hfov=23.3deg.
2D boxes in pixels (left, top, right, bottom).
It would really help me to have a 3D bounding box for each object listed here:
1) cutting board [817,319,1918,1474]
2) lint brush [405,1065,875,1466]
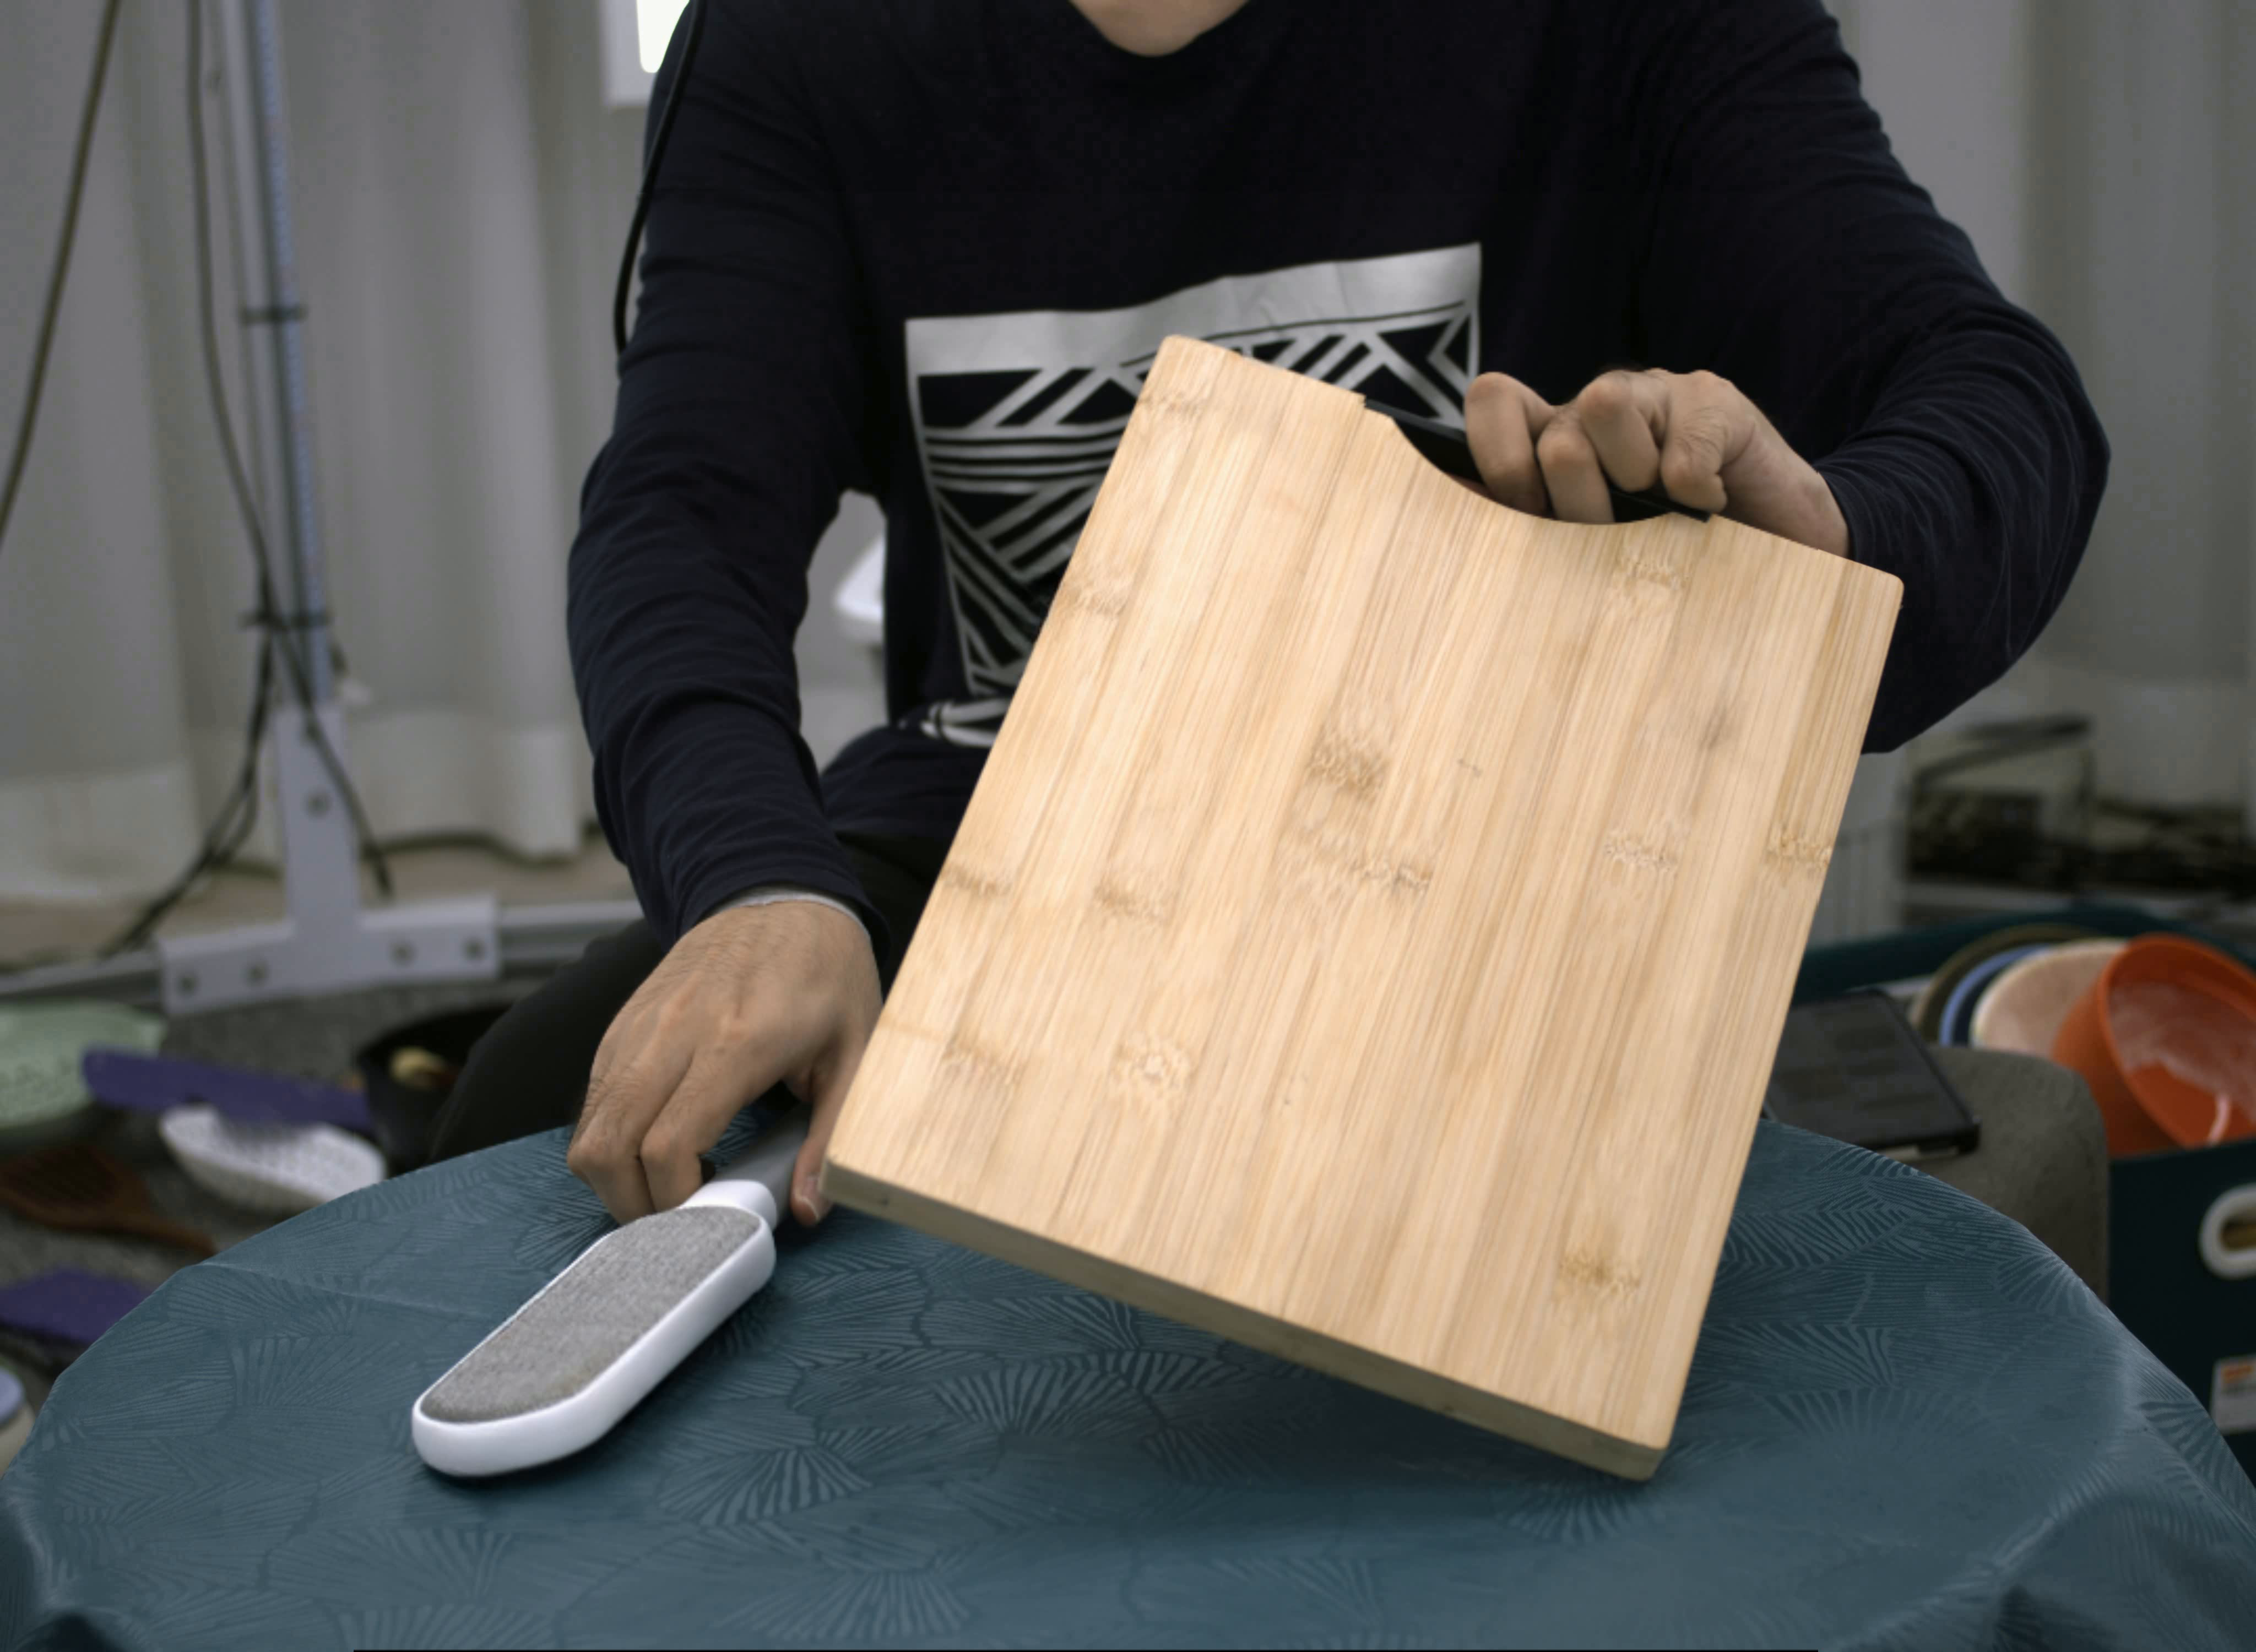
[{"bbox_3d":[0.078,0.009,1.578,0.250,0.023,0.353,18,49,3],"label":"cutting board"},{"bbox_3d":[-0.132,0.127,1.631,0.060,0.021,0.310,-8,13,21],"label":"lint brush"}]
